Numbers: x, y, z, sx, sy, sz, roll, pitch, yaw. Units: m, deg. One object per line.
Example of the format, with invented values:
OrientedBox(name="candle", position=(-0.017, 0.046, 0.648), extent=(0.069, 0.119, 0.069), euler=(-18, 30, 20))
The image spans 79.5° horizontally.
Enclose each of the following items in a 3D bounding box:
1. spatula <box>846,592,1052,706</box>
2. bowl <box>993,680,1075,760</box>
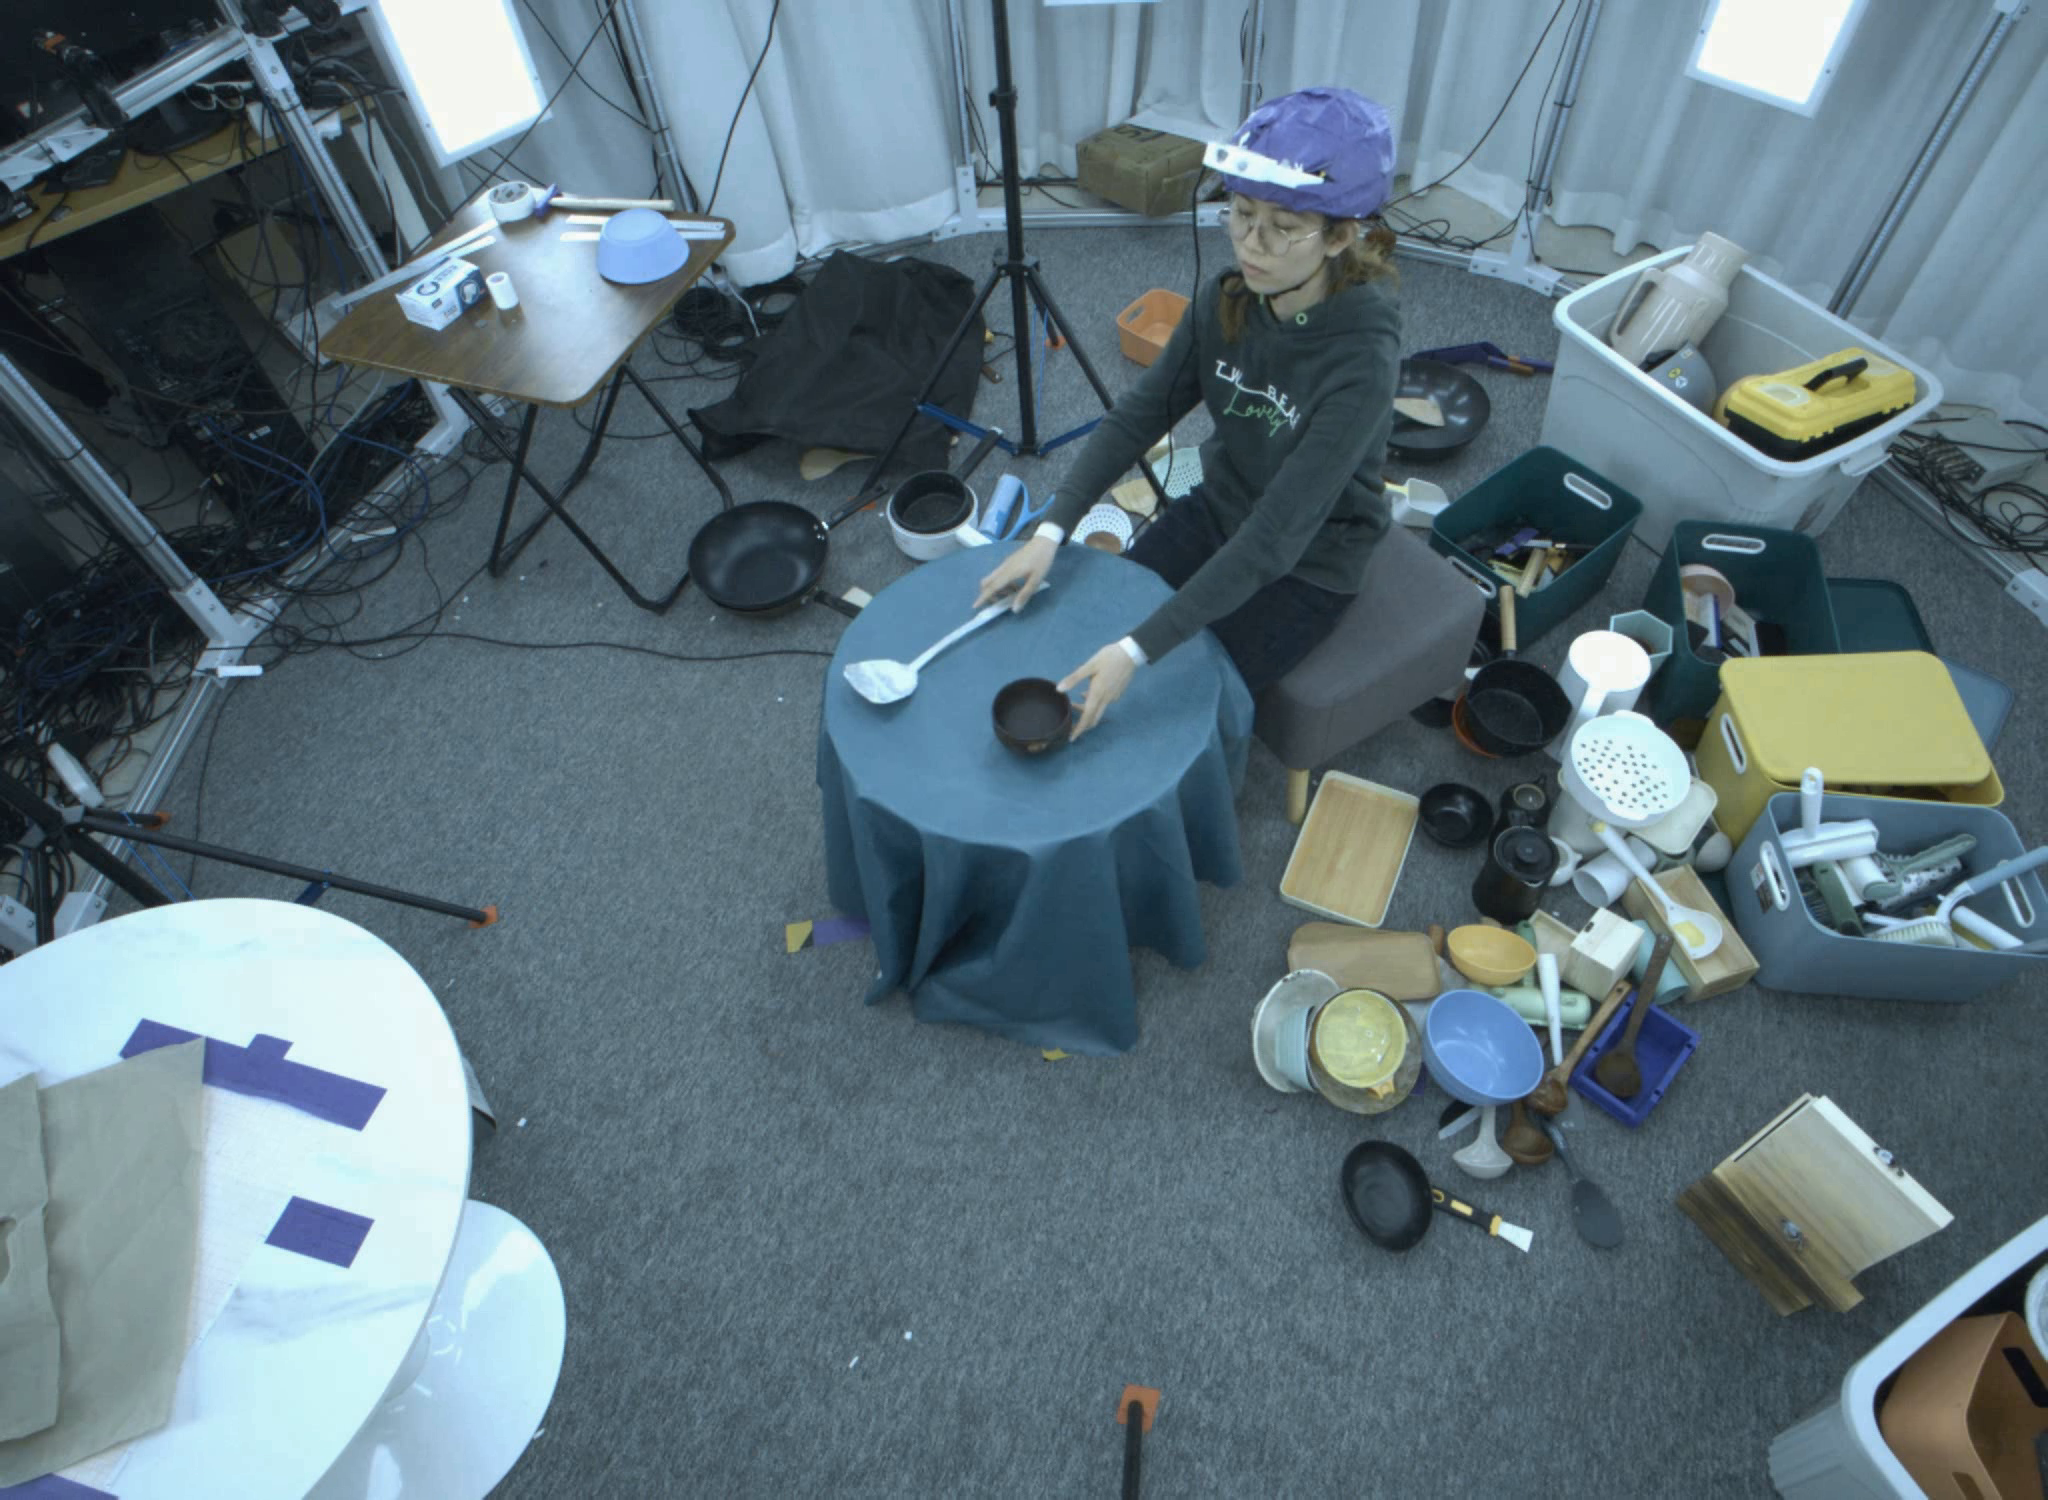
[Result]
OrientedBox(name="spatula", position=(-0.106, -0.170, 1.897), extent=(0.368, 0.045, 0.097), euler=(-34, 58, -20))
OrientedBox(name="bowl", position=(0.015, -0.036, 1.779), extent=(0.118, 0.070, 0.117), euler=(0, 56, 1))
